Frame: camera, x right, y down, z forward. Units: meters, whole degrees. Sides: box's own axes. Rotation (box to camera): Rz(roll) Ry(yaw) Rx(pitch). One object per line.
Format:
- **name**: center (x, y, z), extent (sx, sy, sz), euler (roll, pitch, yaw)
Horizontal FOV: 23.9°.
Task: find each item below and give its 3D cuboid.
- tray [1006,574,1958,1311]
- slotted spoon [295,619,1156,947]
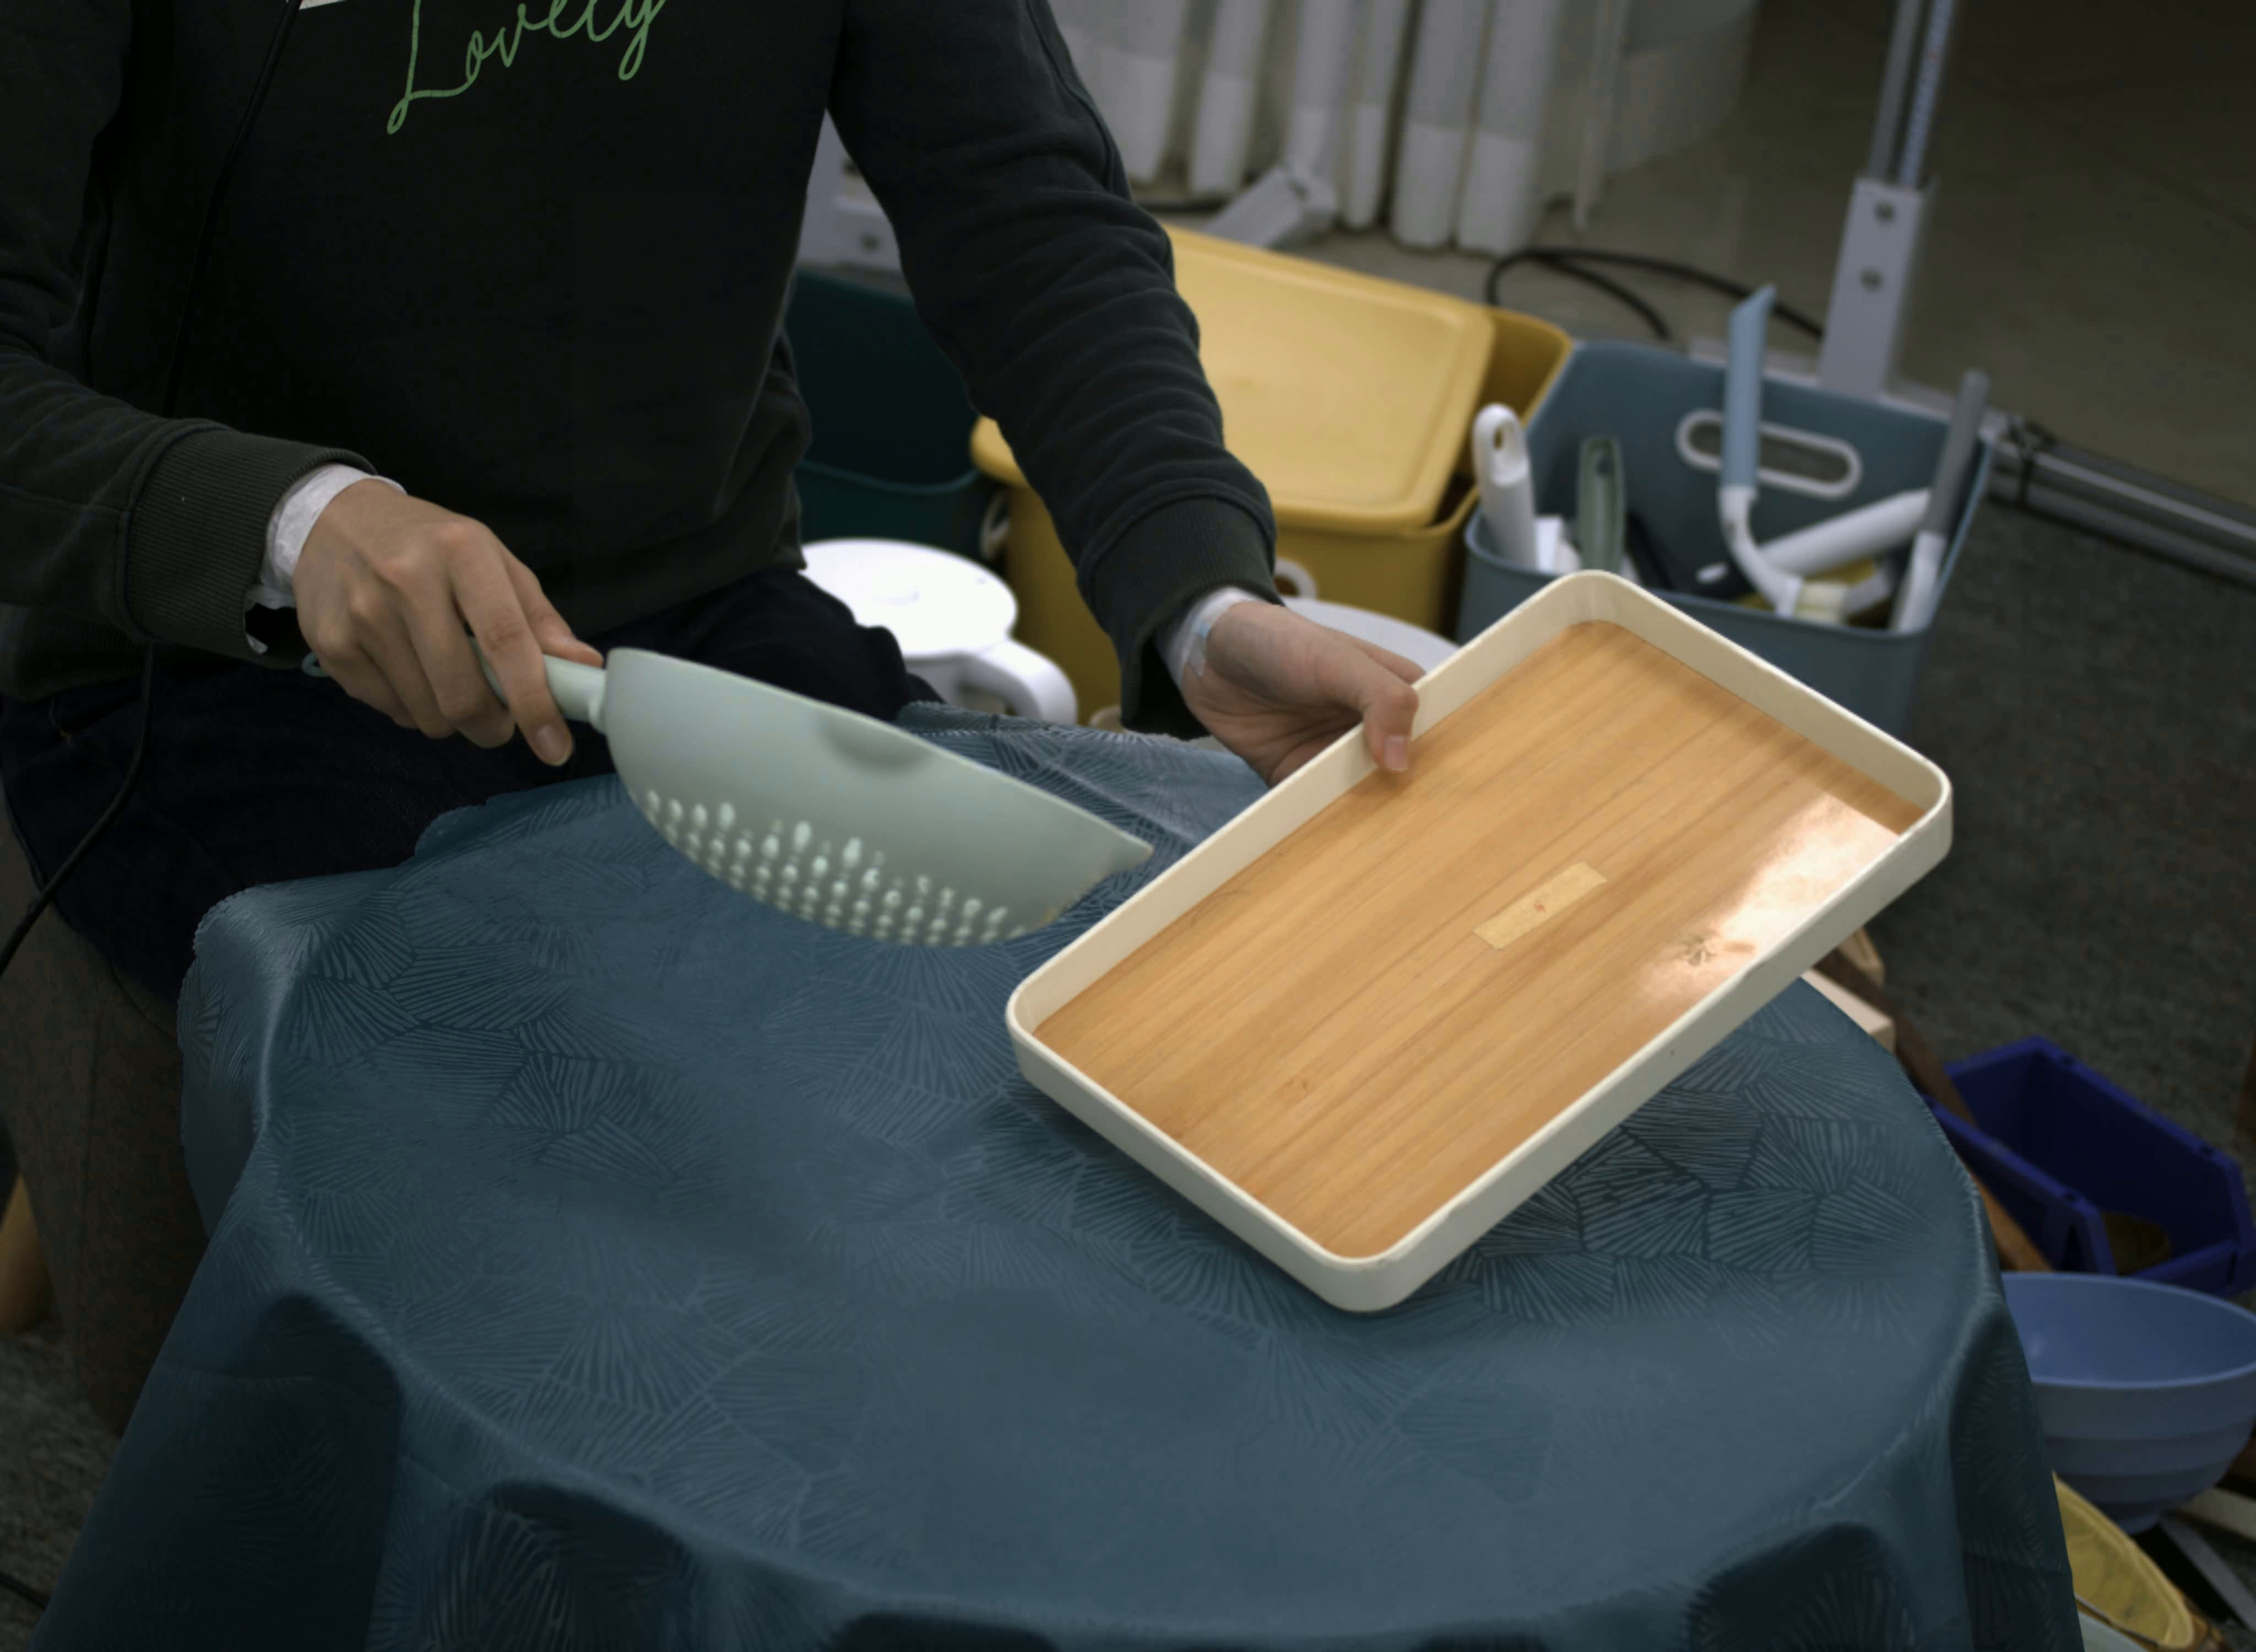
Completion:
- **tray**: center (0.124, 0.034, 1.845), extent (0.300, 0.027, 0.193), euler (-36, 48, -24)
- **slotted spoon**: center (-0.152, -0.030, 1.696), extent (0.361, 0.075, 0.167), euler (25, -2, 45)
